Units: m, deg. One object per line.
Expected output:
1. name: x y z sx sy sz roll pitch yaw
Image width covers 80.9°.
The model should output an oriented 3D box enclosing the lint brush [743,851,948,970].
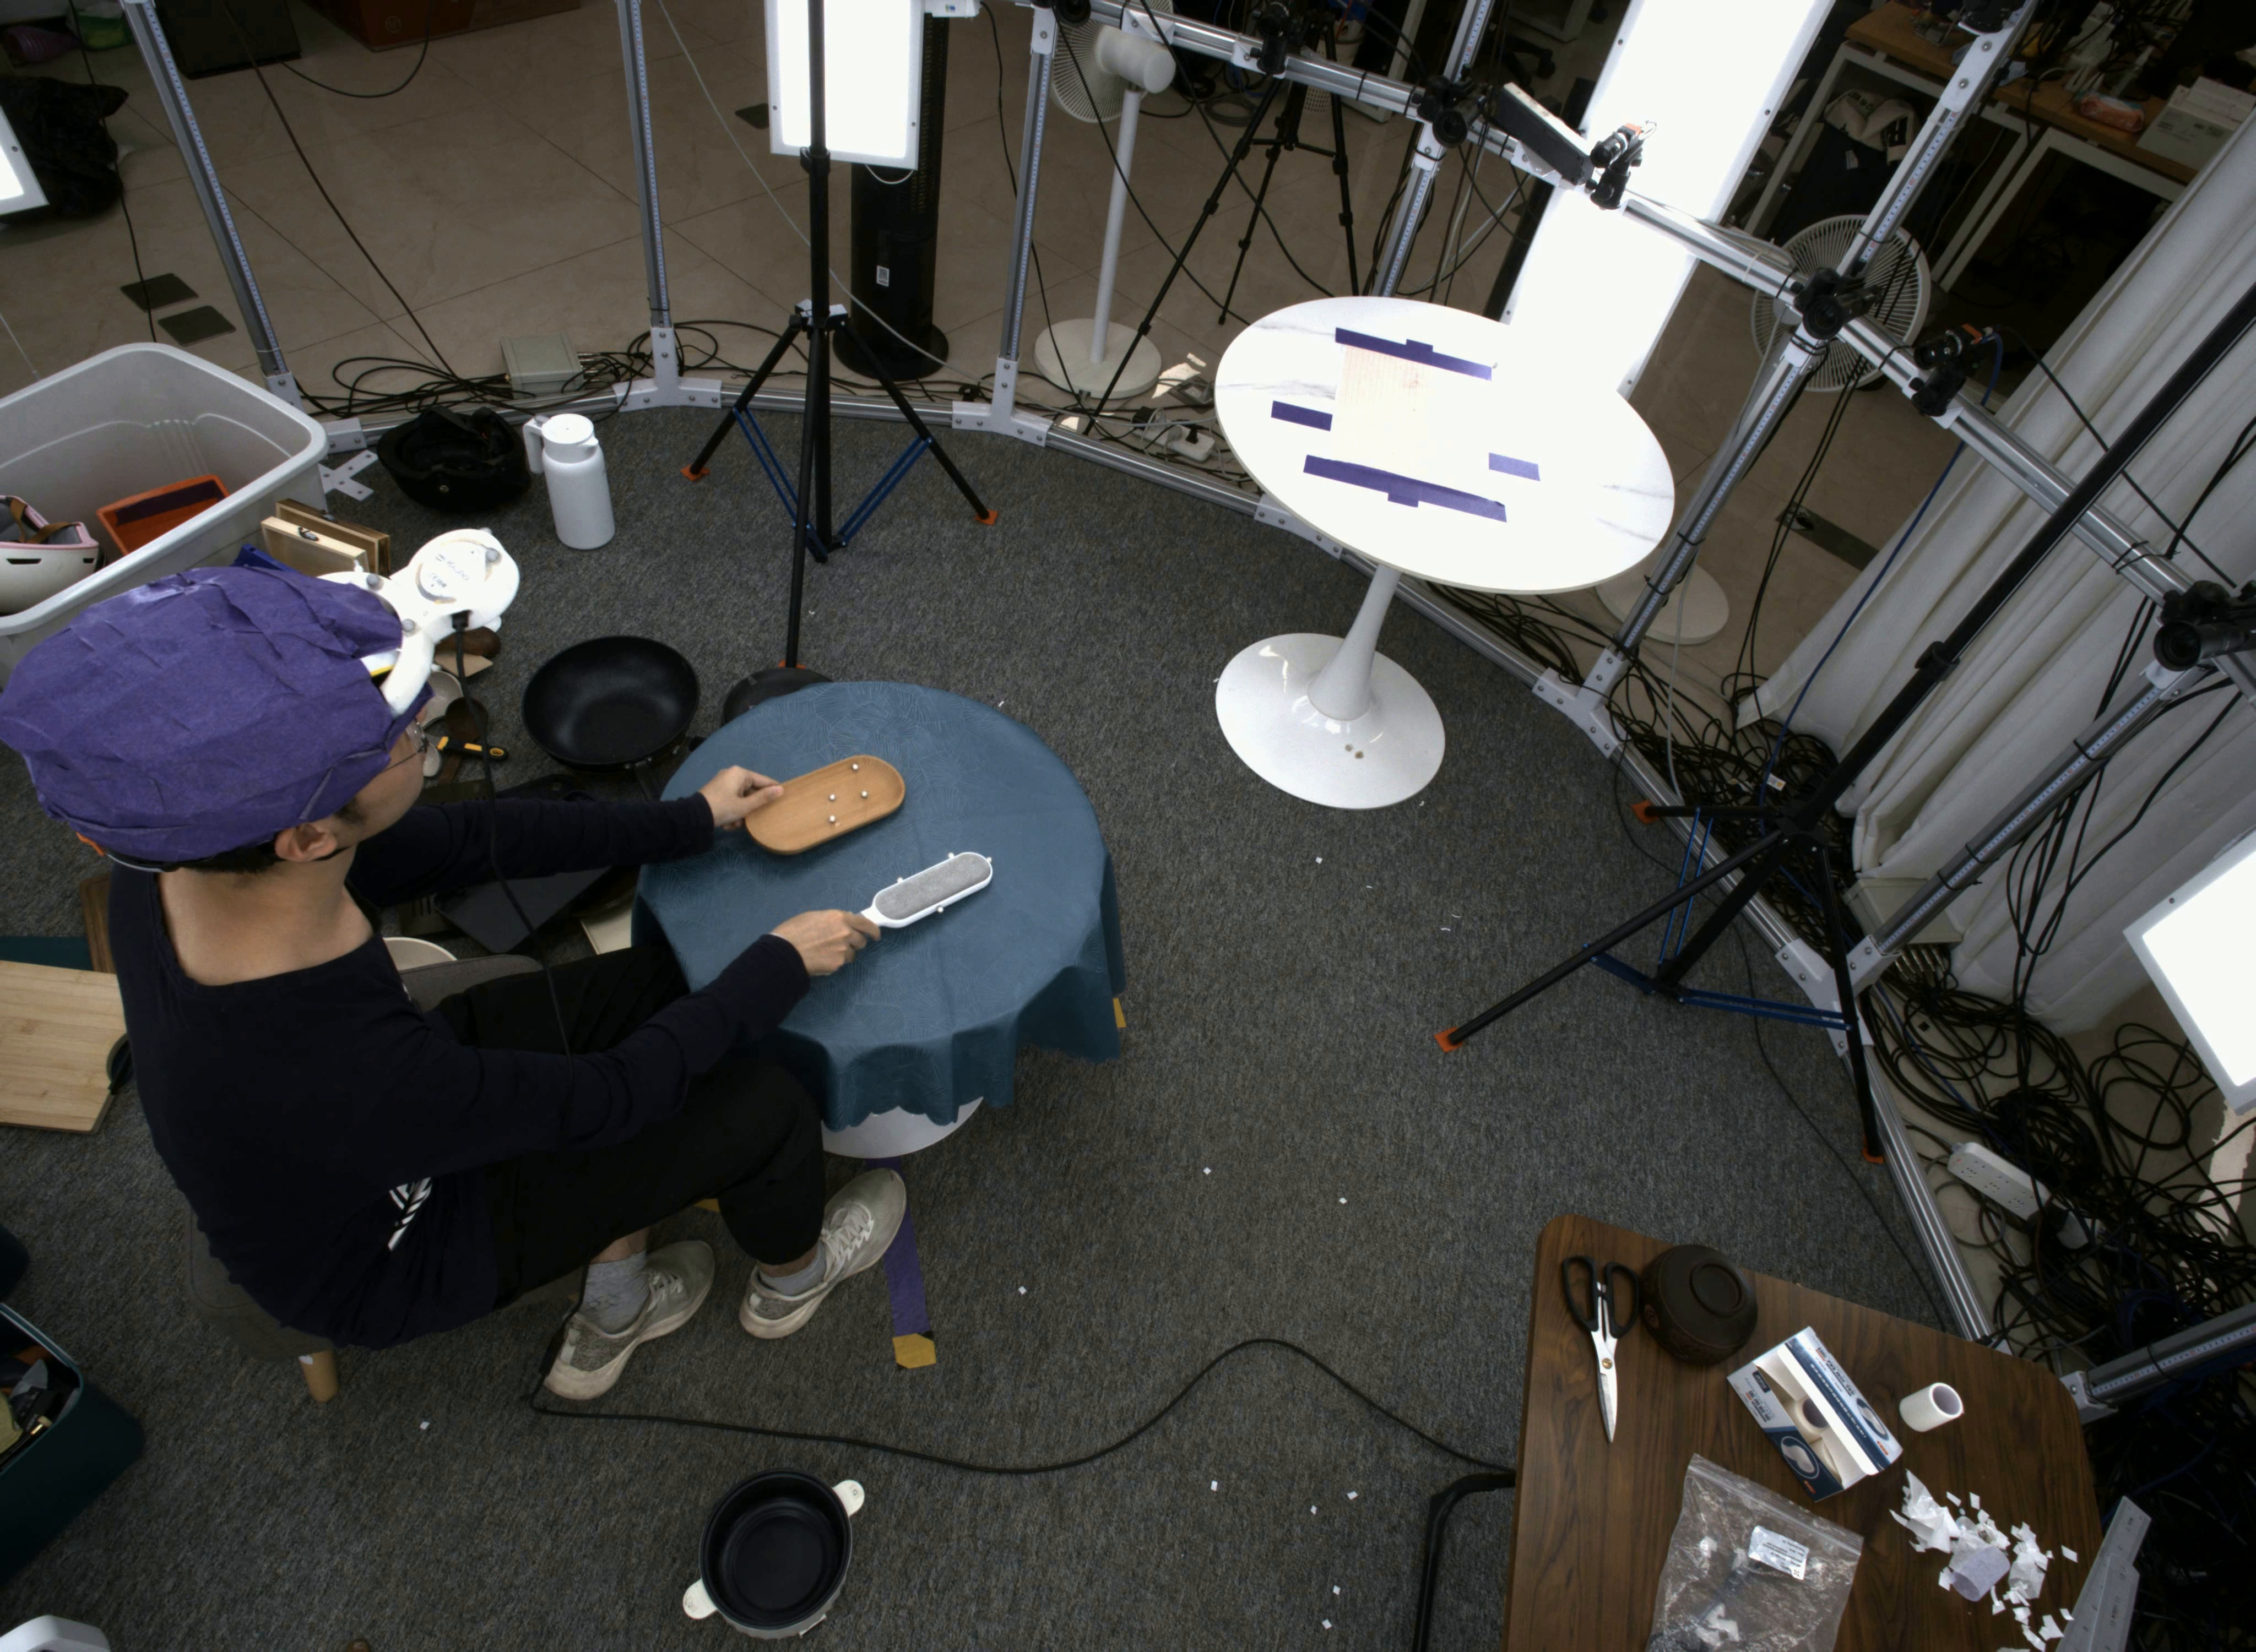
1. lint brush: -0.351 0.103 1.633 0.311 0.021 0.059 -28 72 -40

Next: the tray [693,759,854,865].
1. tray: -0.465 -0.021 1.707 0.232 0.020 0.100 -31 72 -38
